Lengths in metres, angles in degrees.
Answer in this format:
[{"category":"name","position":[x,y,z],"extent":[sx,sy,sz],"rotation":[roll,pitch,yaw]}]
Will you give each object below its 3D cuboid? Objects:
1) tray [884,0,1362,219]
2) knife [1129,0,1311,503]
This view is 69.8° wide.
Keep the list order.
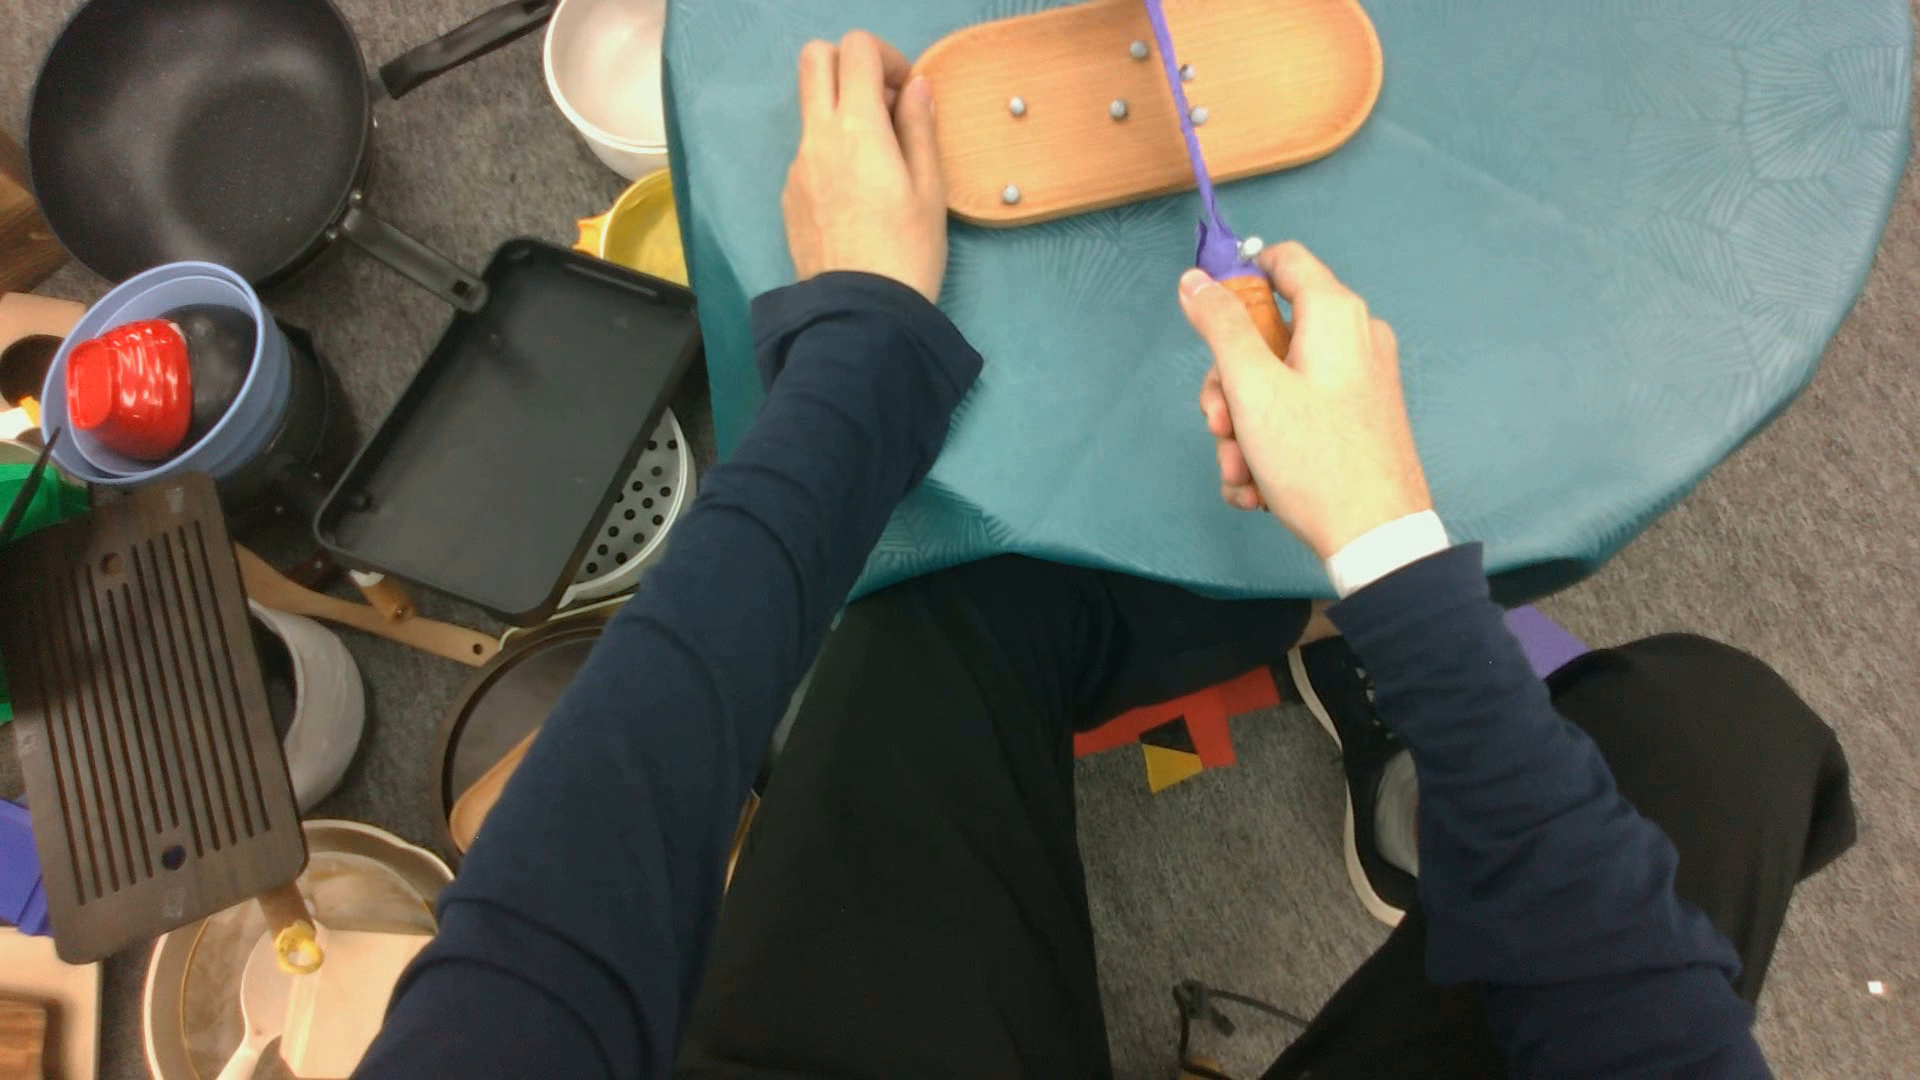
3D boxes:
[{"category":"tray","position":[0.078,-0.215,0.657],"extent":[0.231,0.020,0.102],"rotation":[-14,78,-4]},{"category":"knife","position":[0.098,-0.165,0.588],"extent":[0.032,0.104,0.315],"rotation":[-15,78,17]}]
